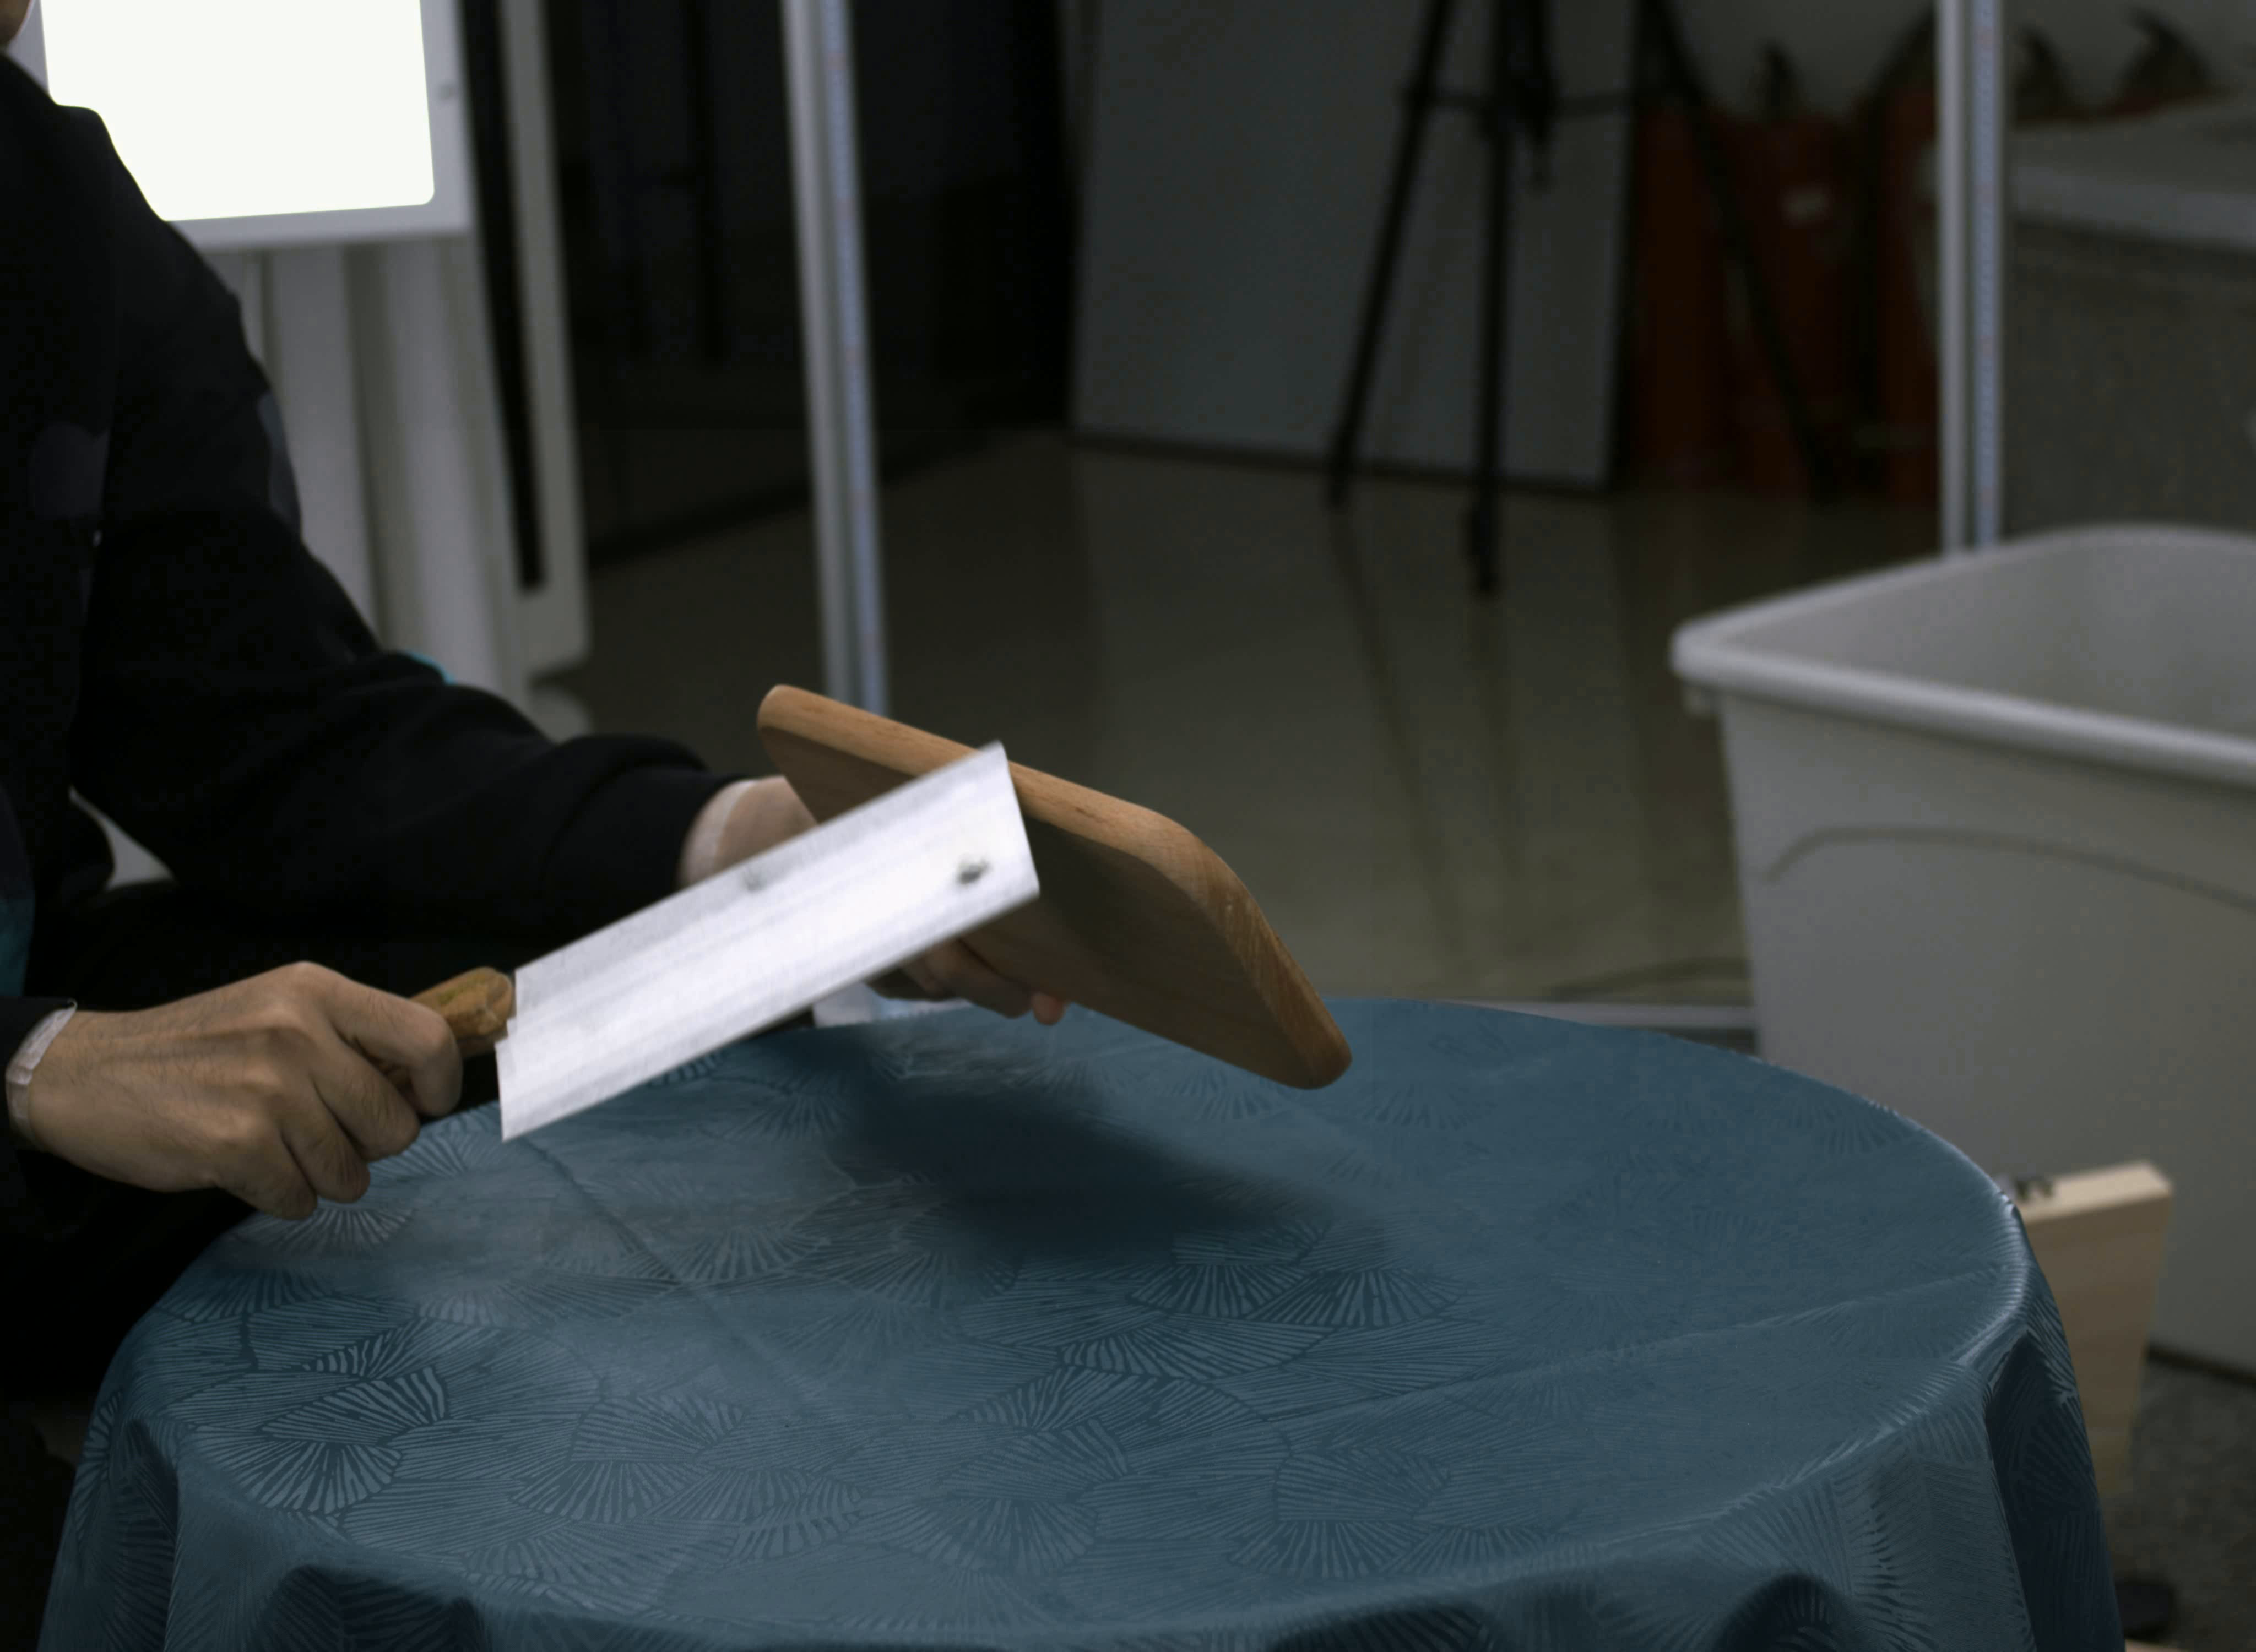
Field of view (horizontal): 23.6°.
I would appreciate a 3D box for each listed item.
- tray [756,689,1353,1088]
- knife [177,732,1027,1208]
[{"bbox_3d":[-0.029,0.021,1.792,0.023,0.130,0.253,-46,34,-22],"label":"tray"},{"bbox_3d":[-0.169,0.058,1.735,0.304,0.021,0.094,-27,33,7],"label":"knife"}]
